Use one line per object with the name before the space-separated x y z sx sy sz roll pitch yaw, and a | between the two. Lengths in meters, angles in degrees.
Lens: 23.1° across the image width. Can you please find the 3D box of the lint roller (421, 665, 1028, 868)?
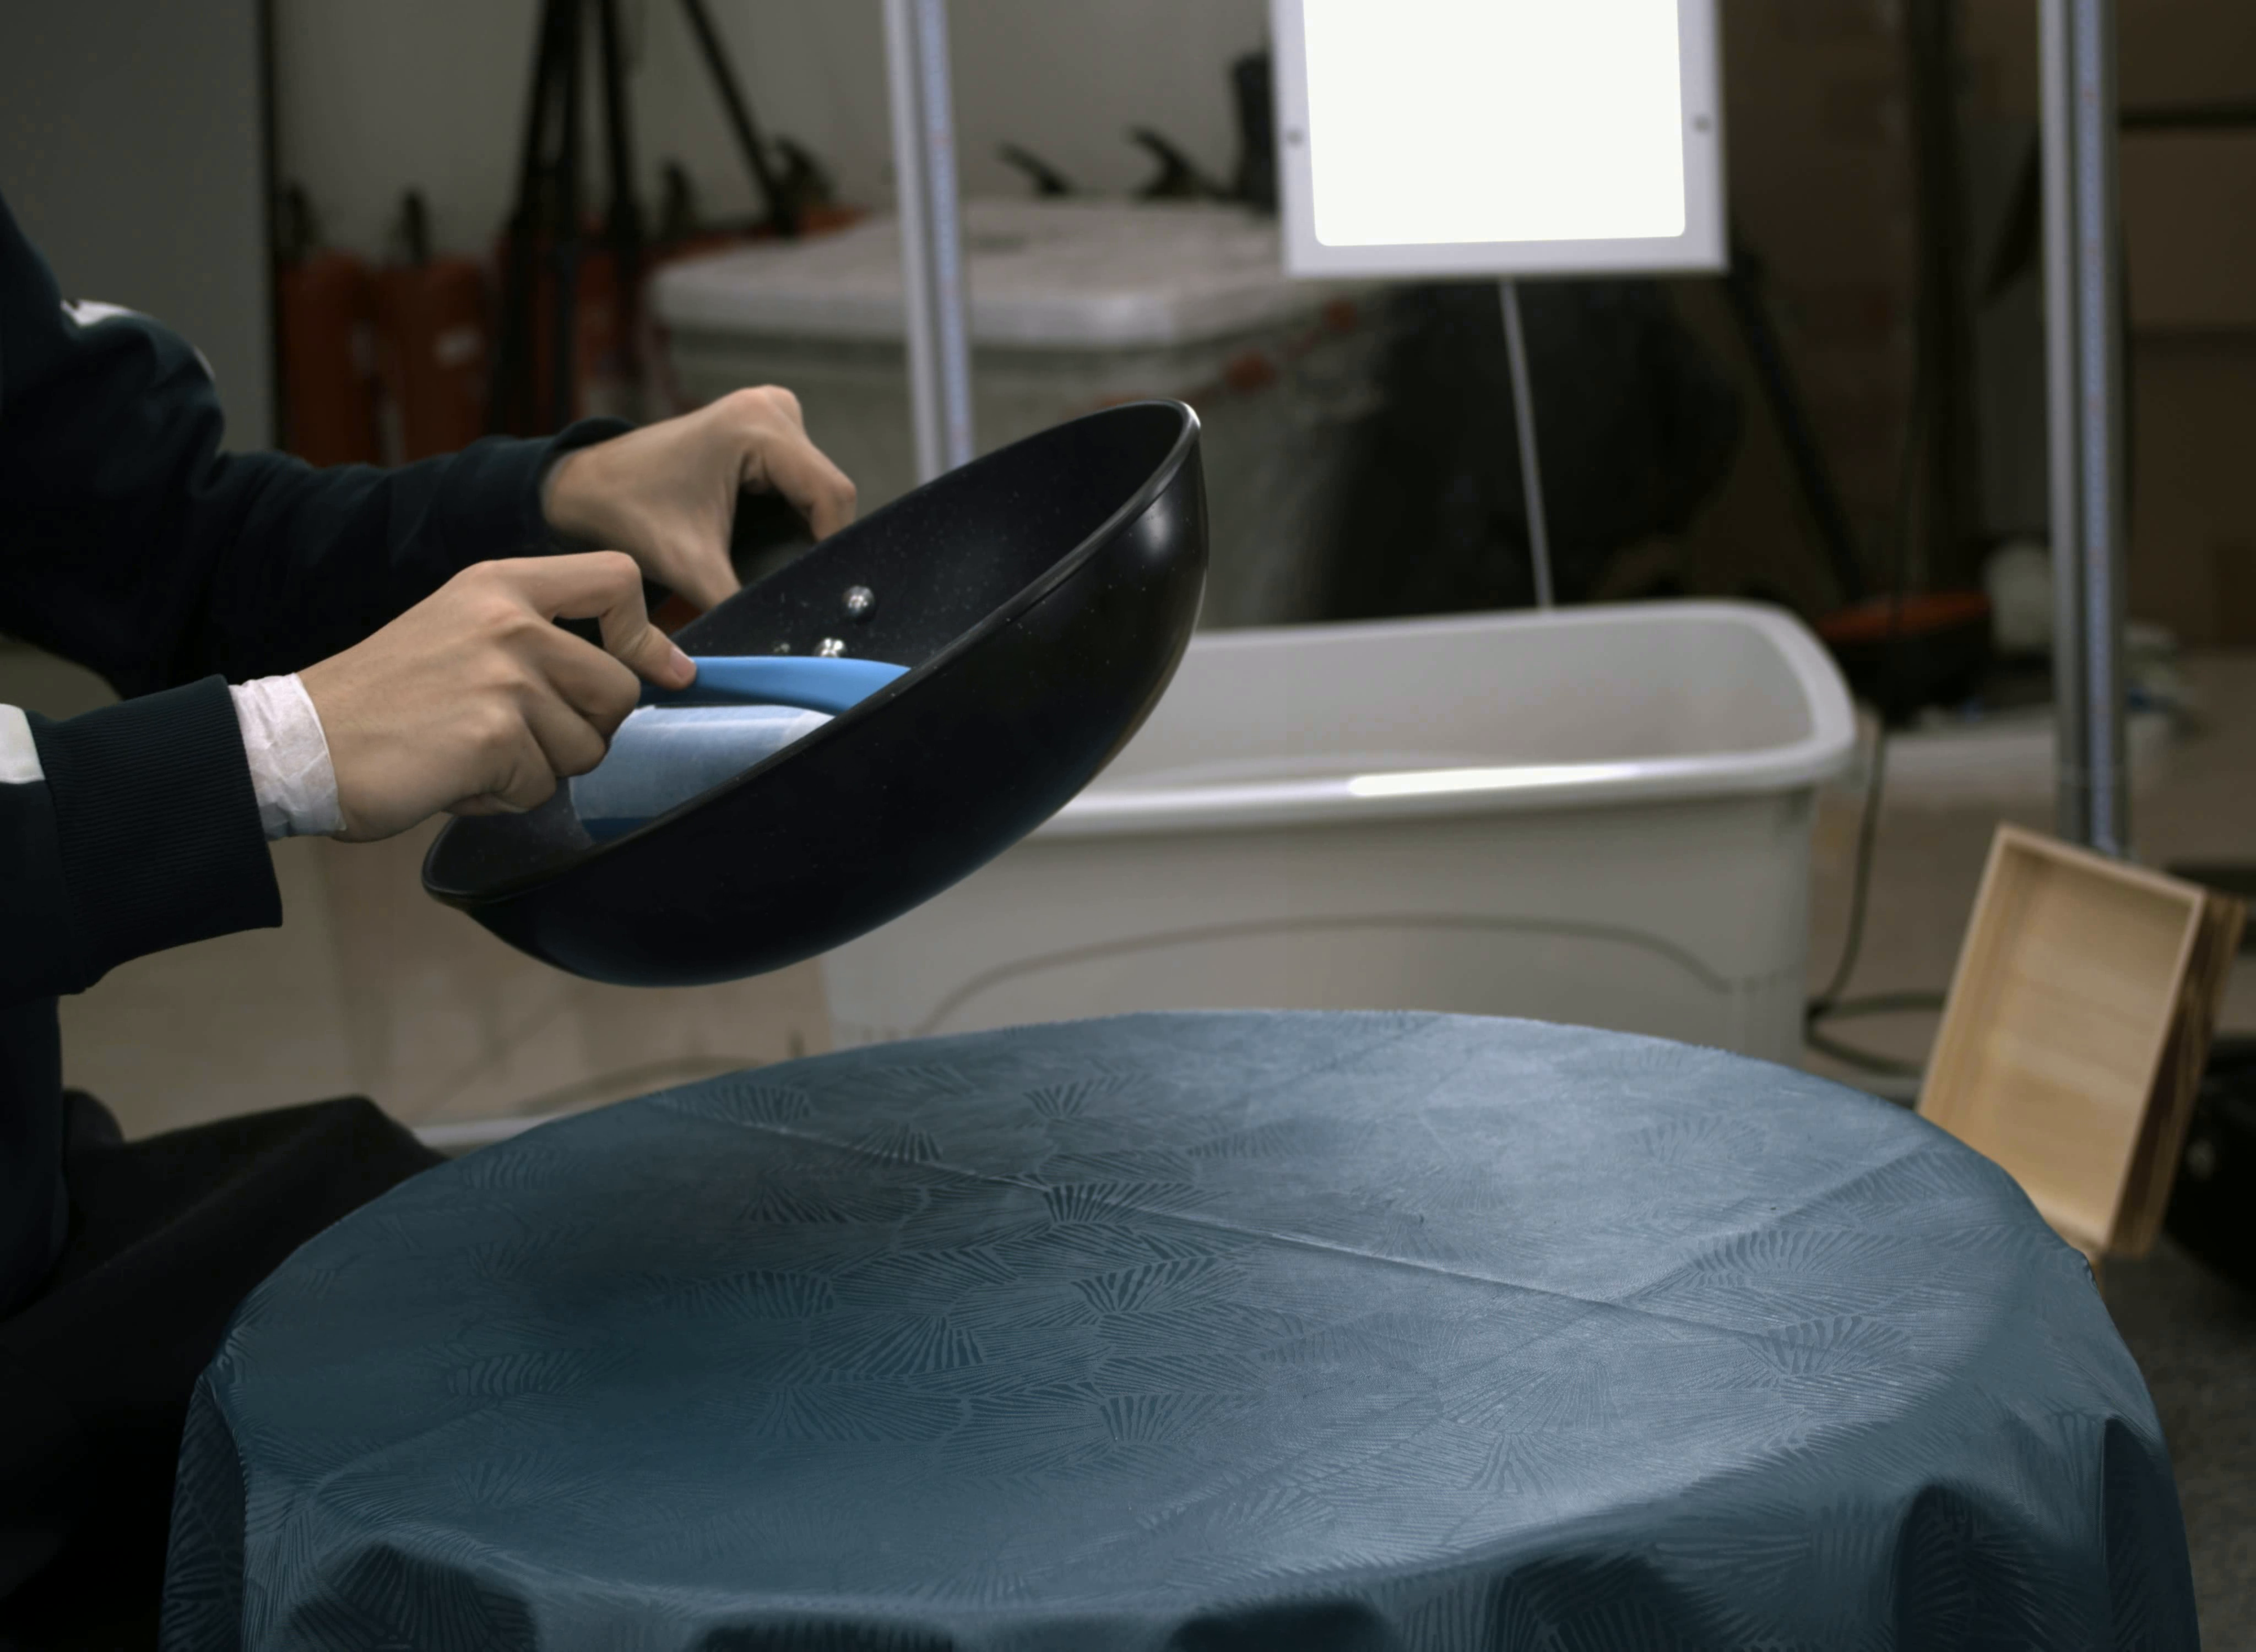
lint roller | -0.154 -0.023 1.839 0.176 0.068 0.234 11 -6 -42

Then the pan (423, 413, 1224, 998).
pan | -0.103 -0.052 1.958 0.310 0.111 0.478 -31 14 0
